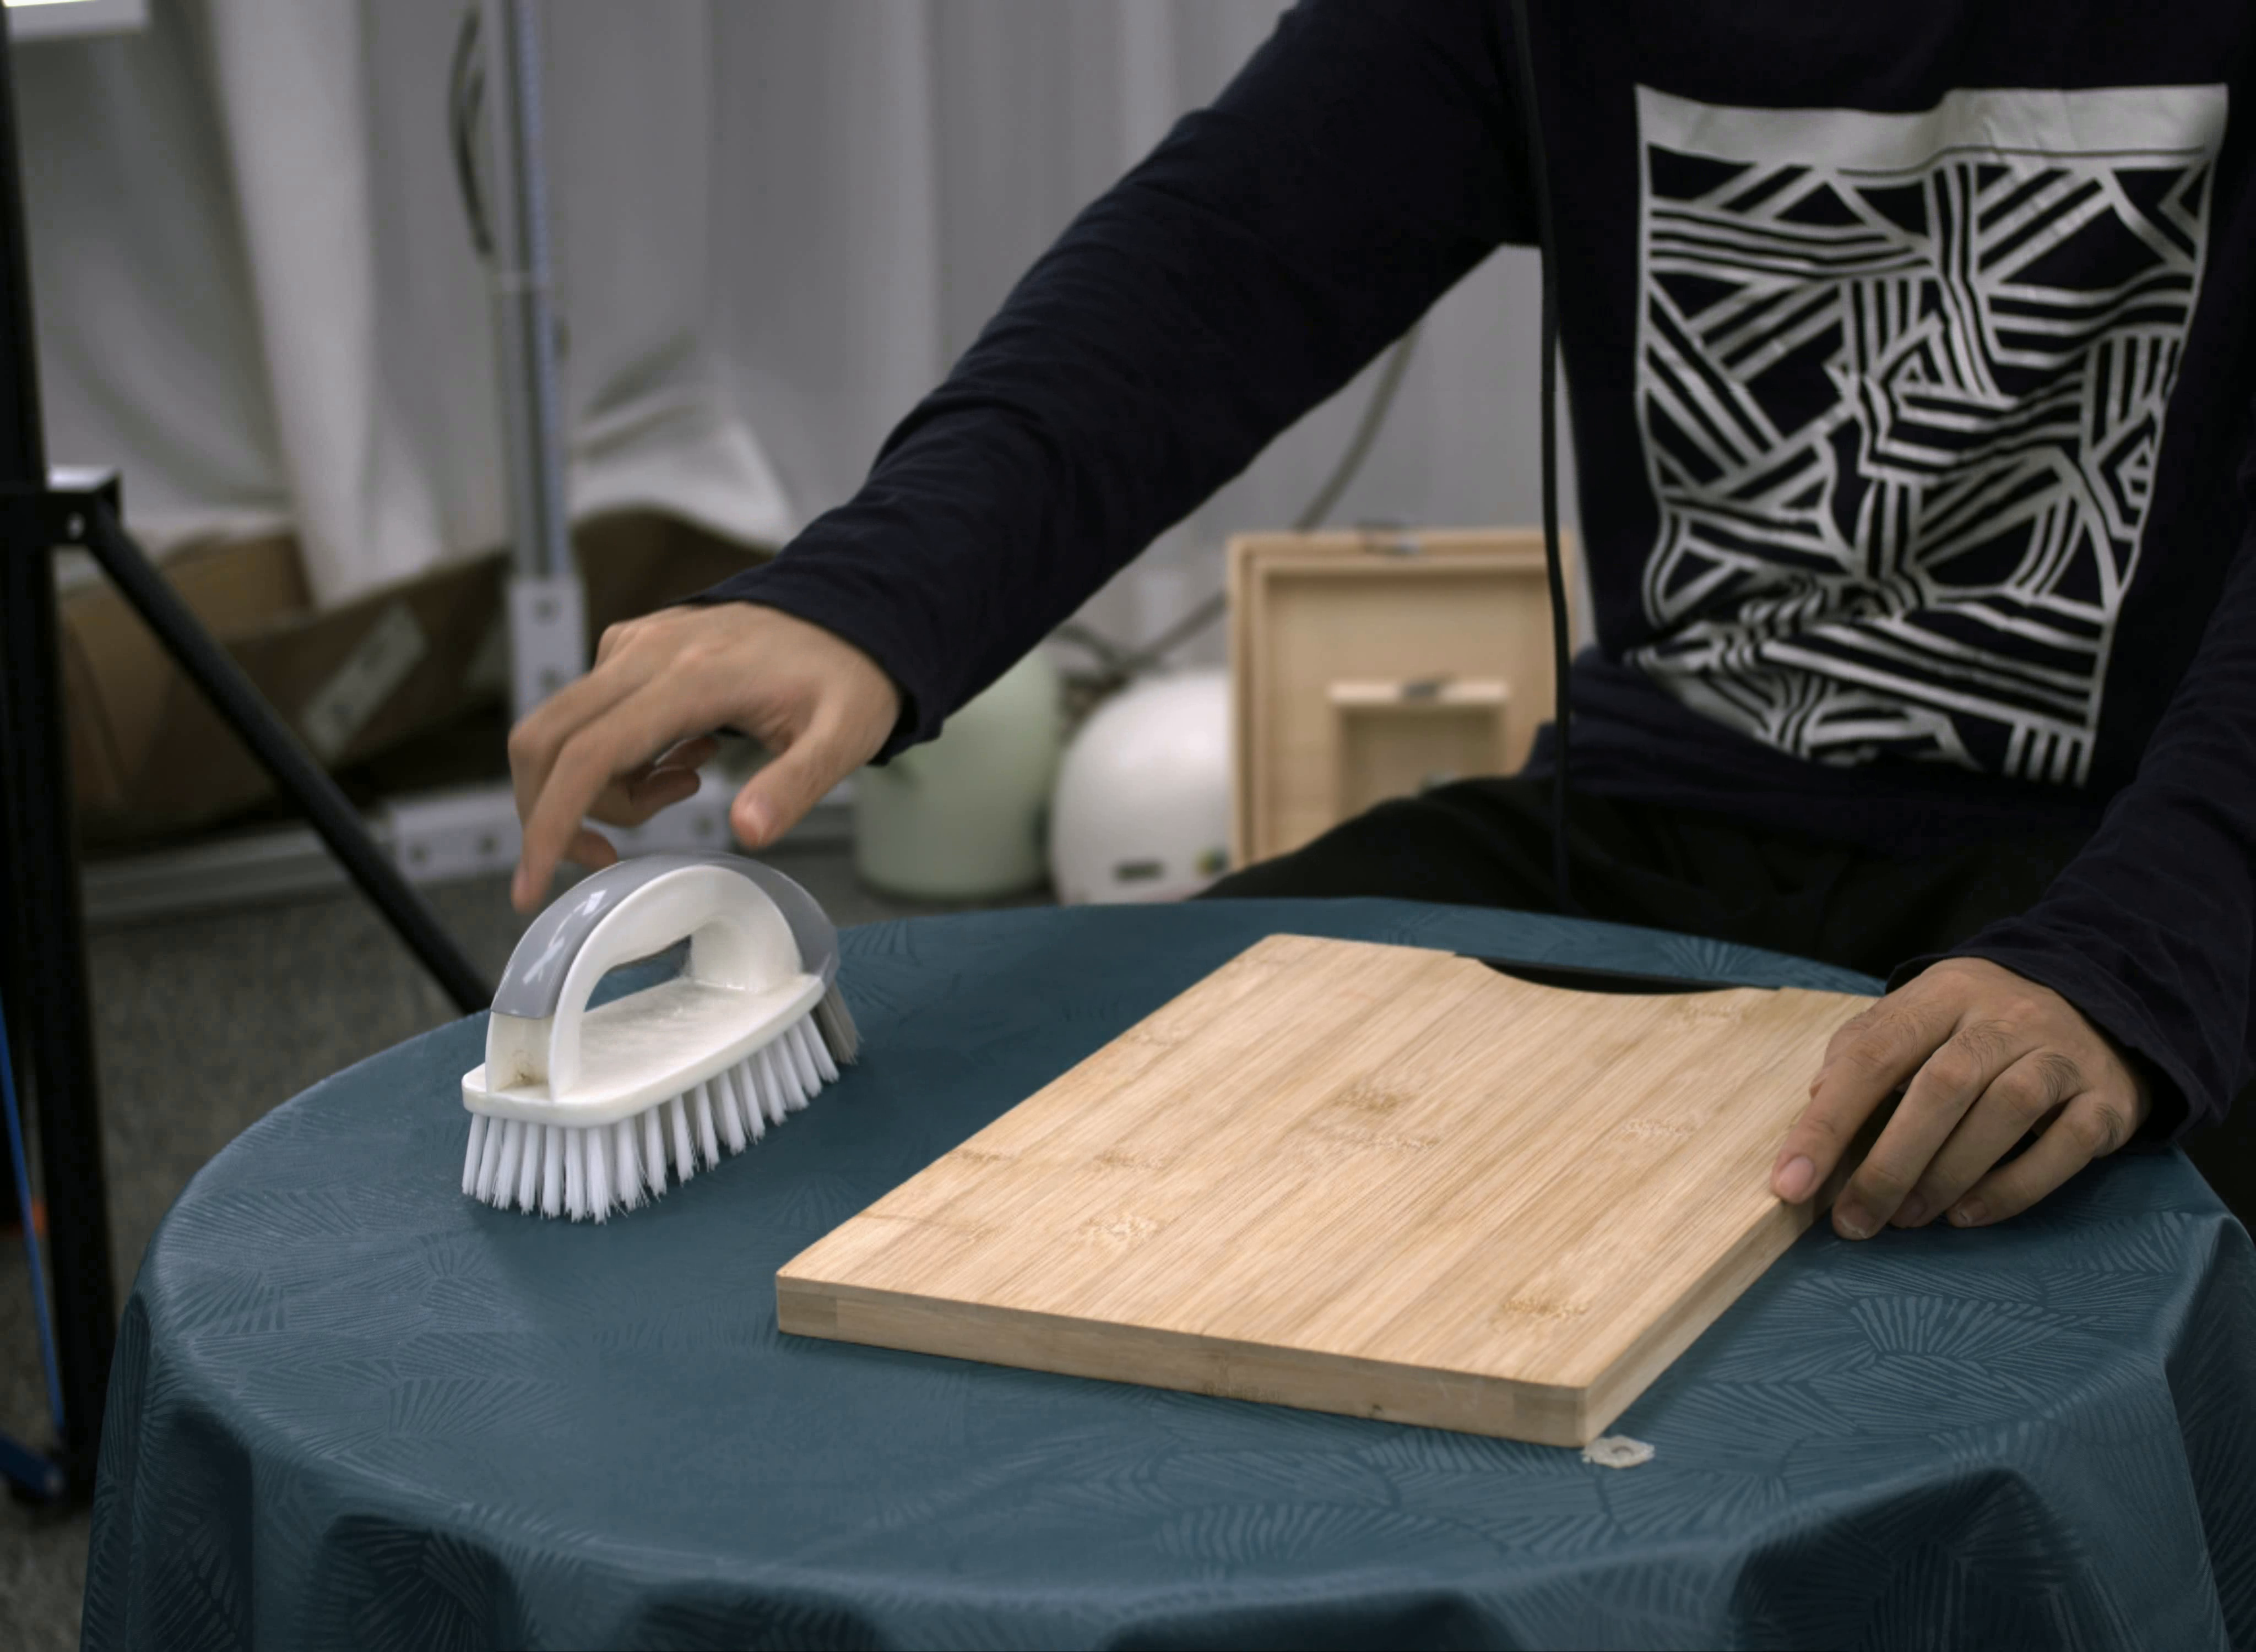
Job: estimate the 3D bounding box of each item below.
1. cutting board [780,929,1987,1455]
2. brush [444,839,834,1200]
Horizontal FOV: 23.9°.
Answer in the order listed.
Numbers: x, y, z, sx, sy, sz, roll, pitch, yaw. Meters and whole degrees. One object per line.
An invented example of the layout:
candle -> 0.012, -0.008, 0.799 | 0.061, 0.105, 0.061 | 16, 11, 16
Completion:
cutting board -> 0.085, 0.098, 1.554 | 0.254, 0.023, 0.343 | 6, 18, 25
brush -> -0.139, 0.048, 1.625 | 0.062, 0.094, 0.172 | 9, 17, 30
